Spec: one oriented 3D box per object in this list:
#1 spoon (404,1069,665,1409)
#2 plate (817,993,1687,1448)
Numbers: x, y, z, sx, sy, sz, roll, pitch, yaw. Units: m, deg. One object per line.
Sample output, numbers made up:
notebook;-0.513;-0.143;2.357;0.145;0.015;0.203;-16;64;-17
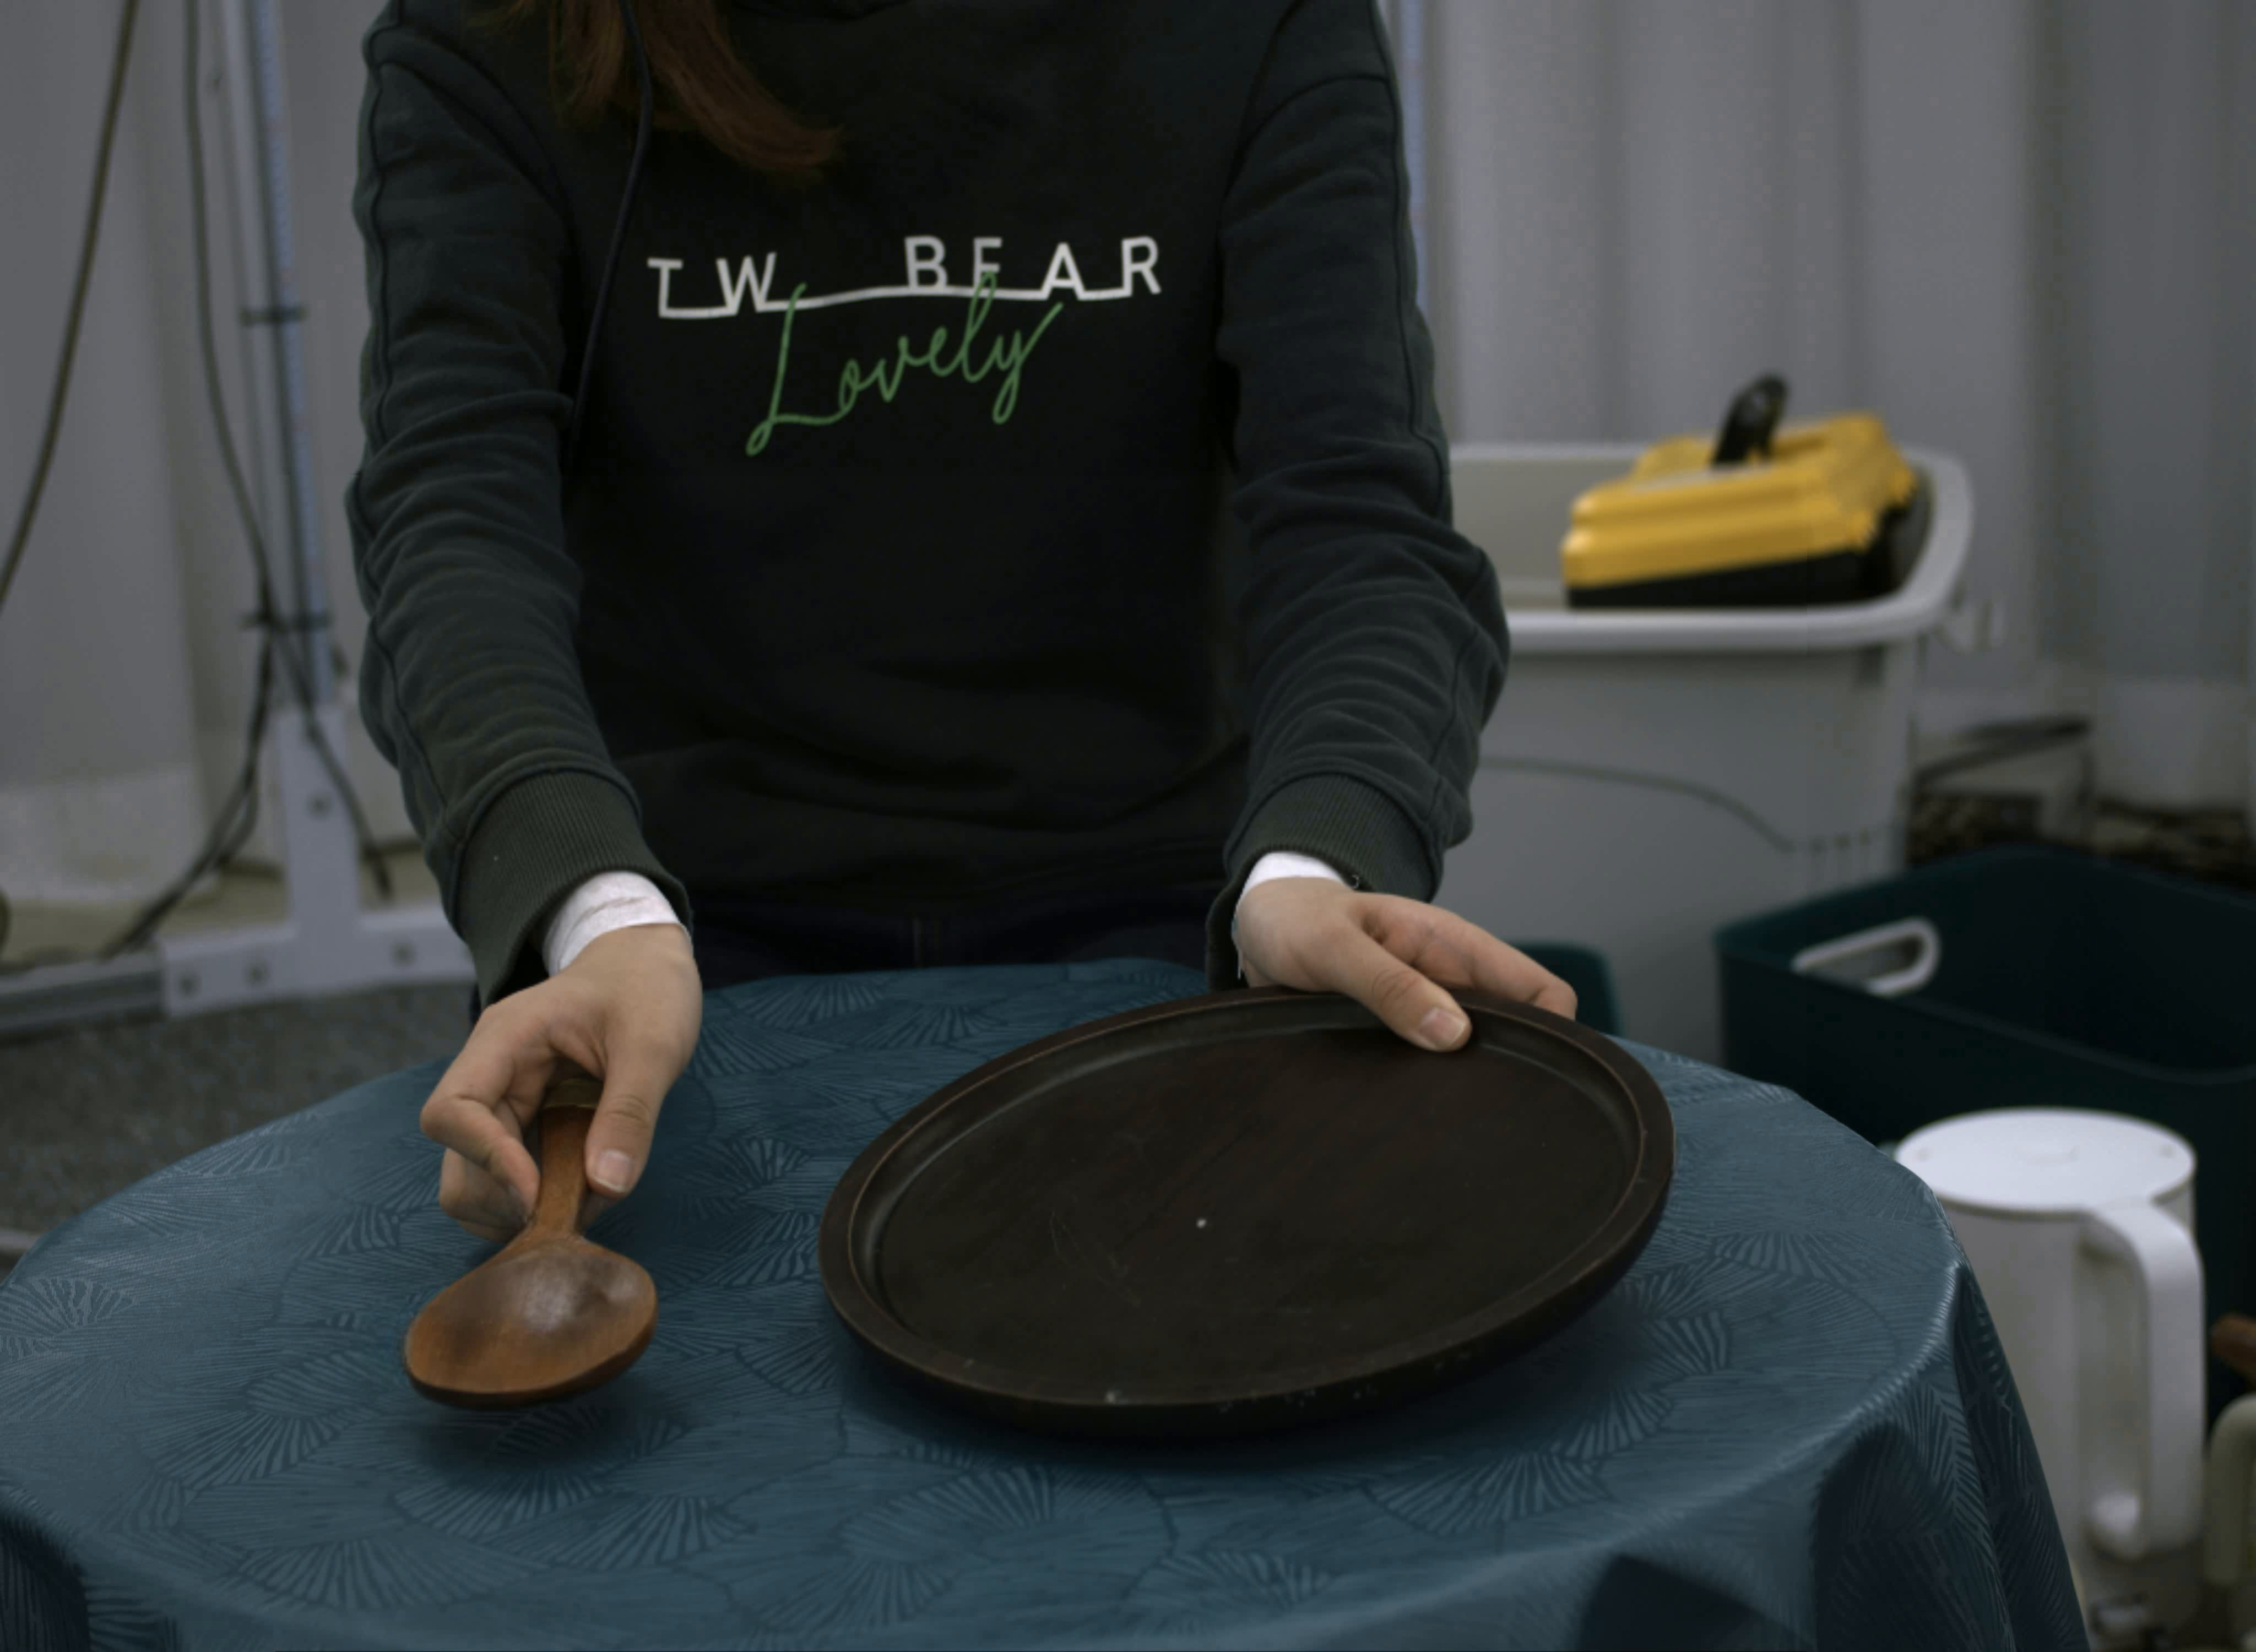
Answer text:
spoon;-0.168;0.121;1.603;0.075;0.017;0.218;-10;21;3
plate;0.036;0.111;1.588;0.254;0.029;0.257;-7;25;3
